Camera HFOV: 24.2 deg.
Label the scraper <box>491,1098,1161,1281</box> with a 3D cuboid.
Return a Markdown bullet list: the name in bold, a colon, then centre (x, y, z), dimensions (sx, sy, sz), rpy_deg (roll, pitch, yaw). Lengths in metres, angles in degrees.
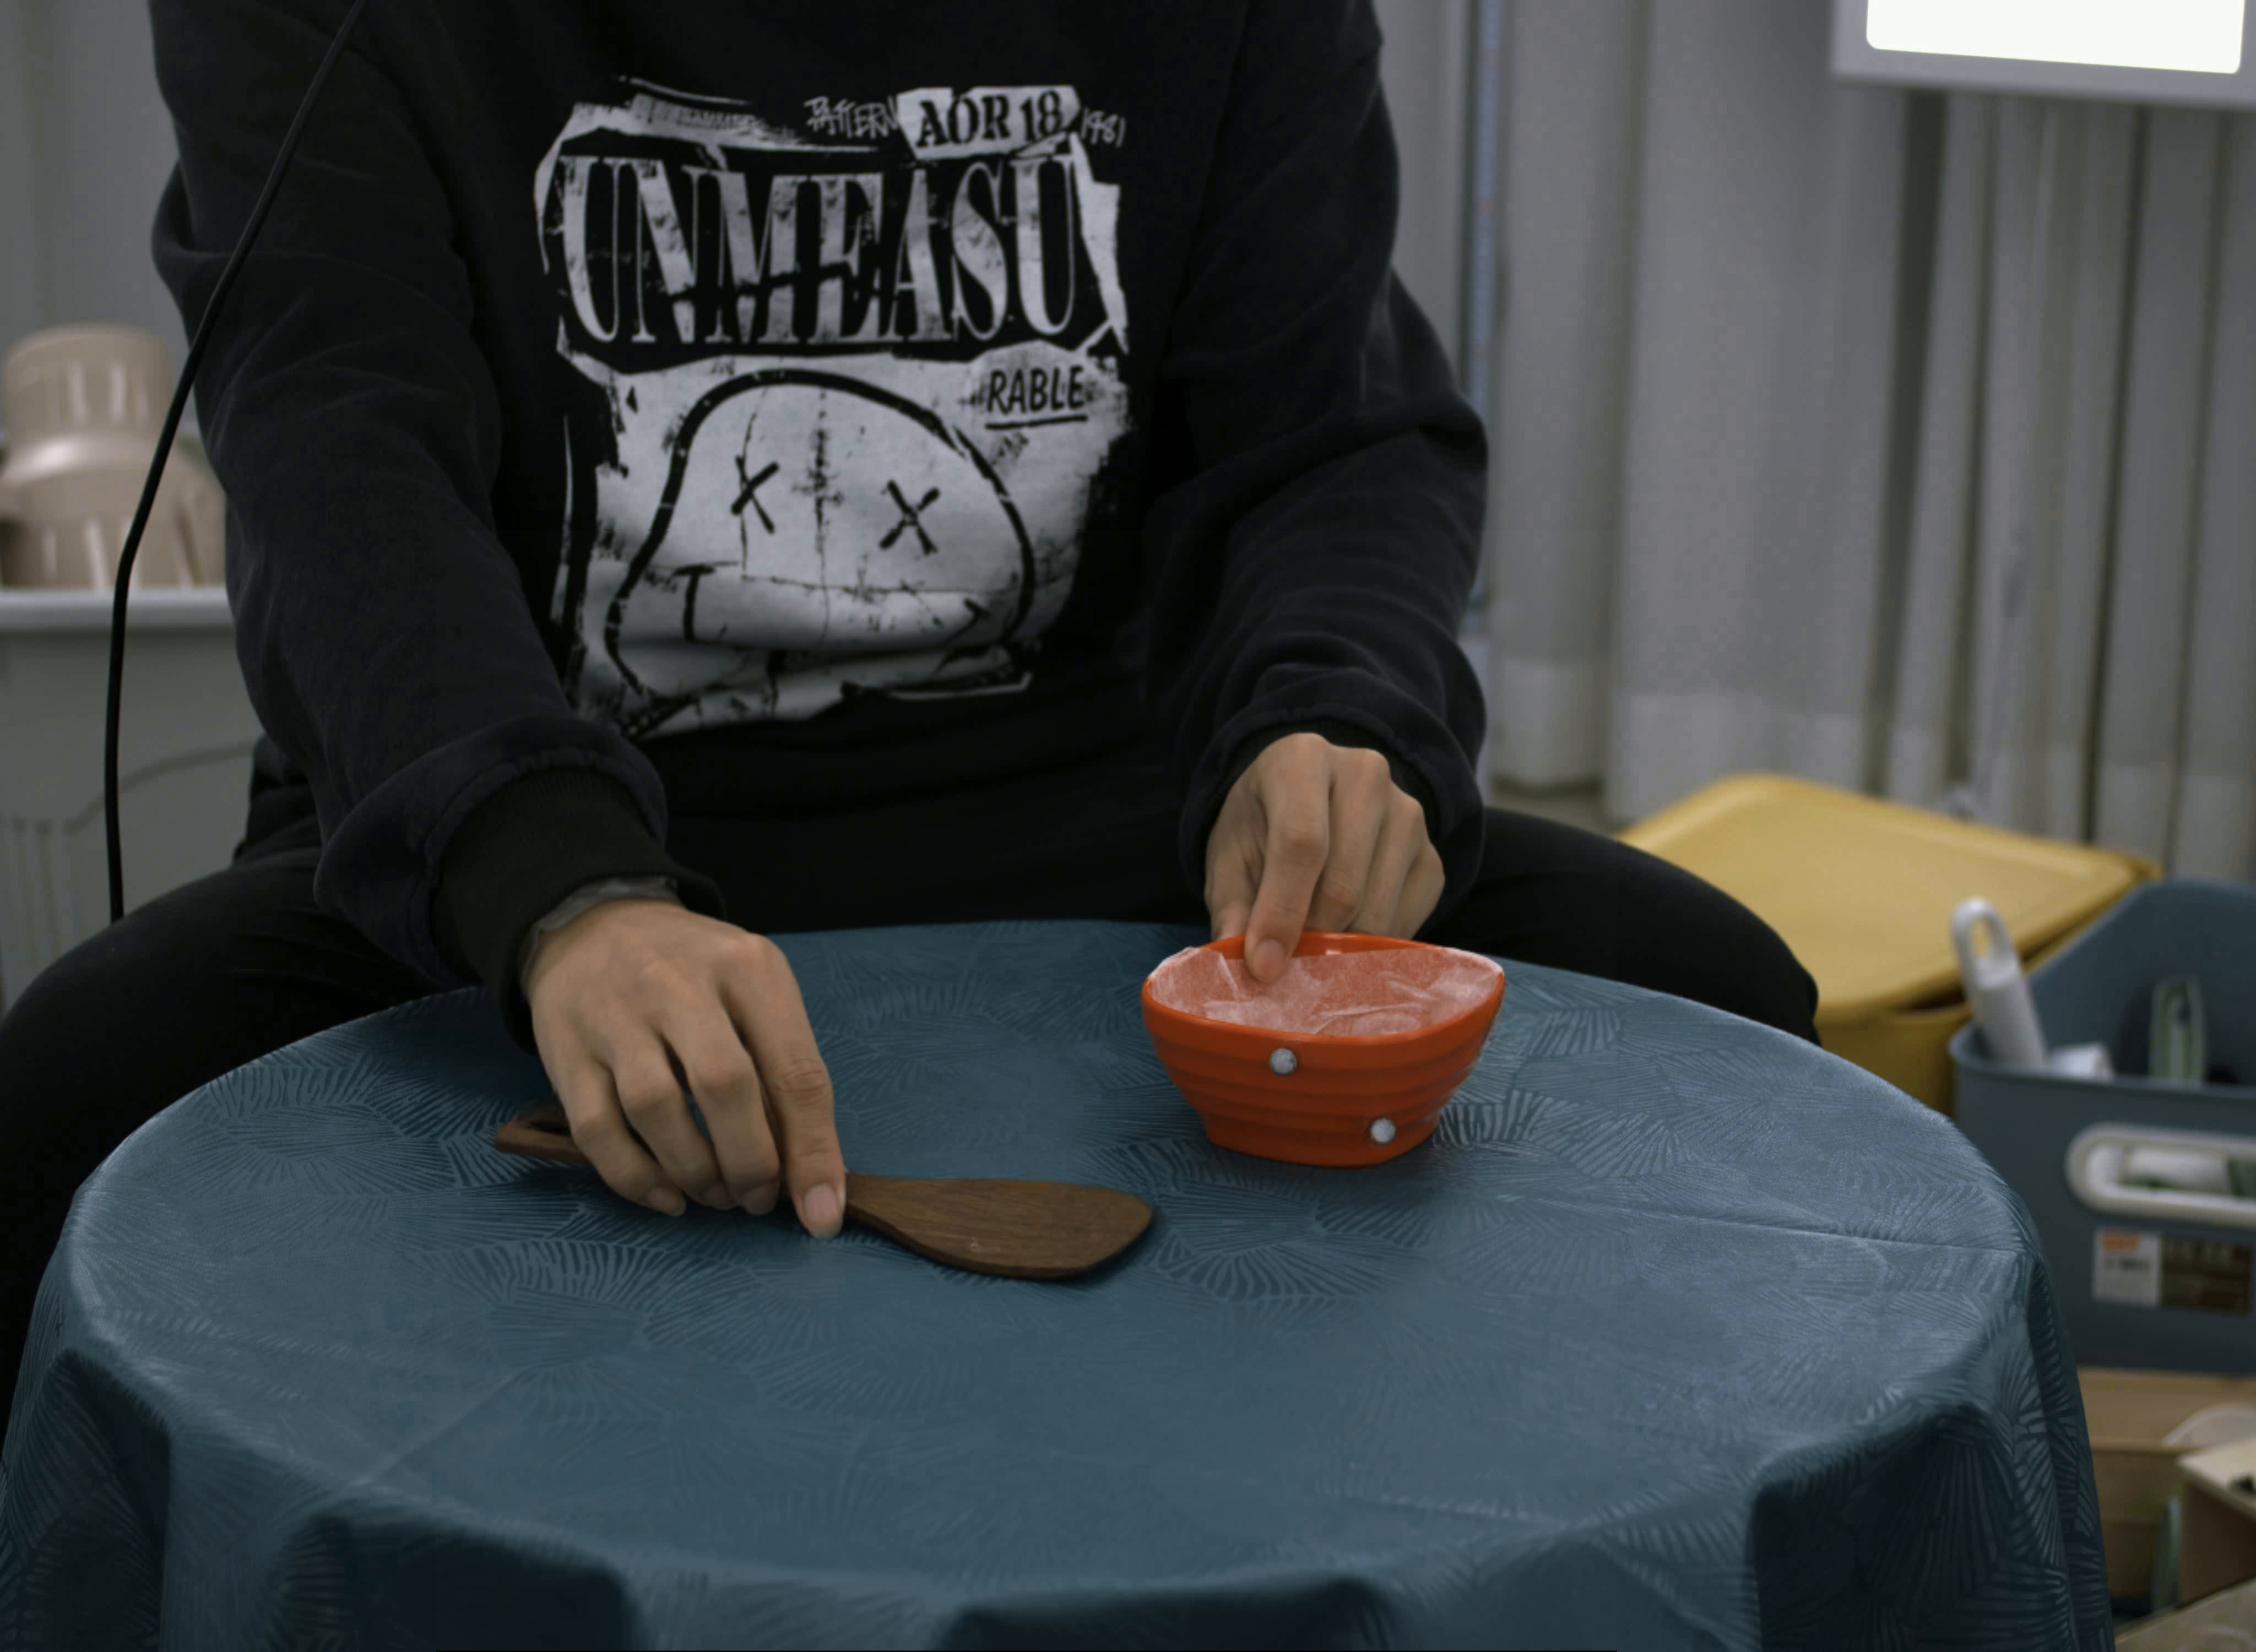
- **scraper**: centre (-0.095, 0.108, 1.602), dimensions (0.209, 0.011, 0.076), rpy_deg (11, 18, 16)

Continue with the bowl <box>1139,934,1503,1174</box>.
- **bowl**: centre (0.062, 0.075, 1.677), dimensions (0.118, 0.052, 0.118), rpy_deg (-1, 17, 1)
